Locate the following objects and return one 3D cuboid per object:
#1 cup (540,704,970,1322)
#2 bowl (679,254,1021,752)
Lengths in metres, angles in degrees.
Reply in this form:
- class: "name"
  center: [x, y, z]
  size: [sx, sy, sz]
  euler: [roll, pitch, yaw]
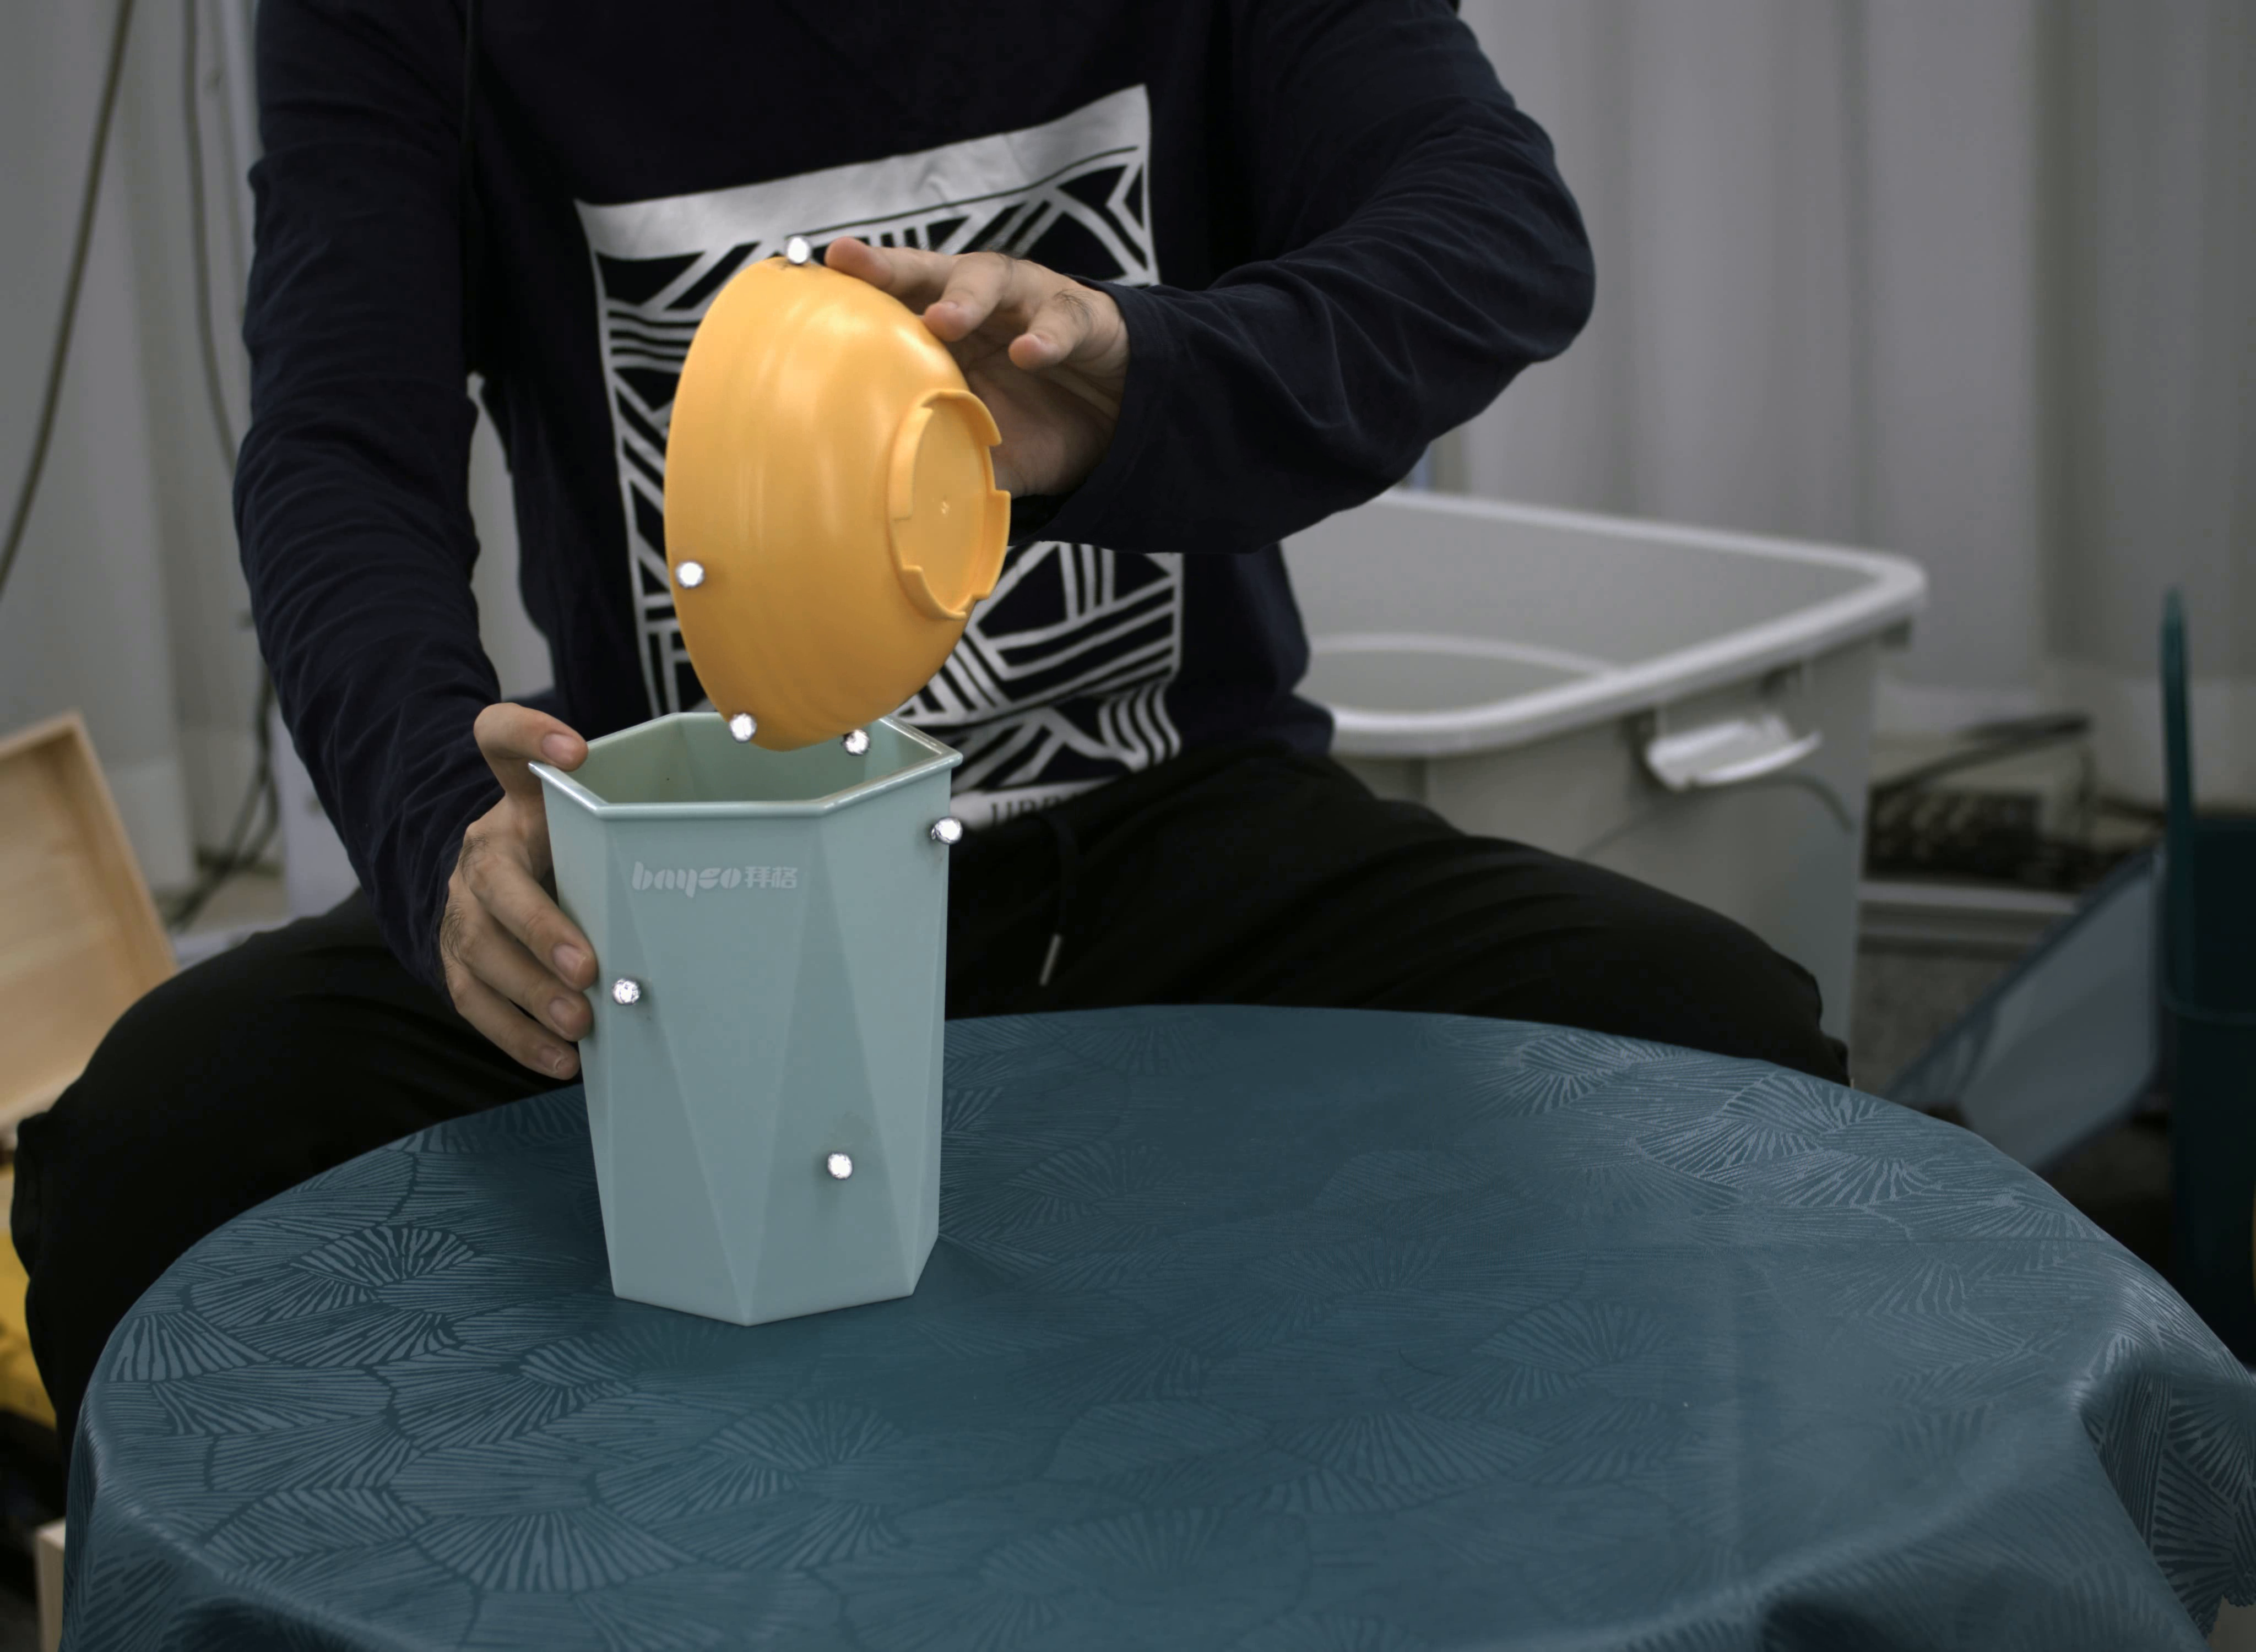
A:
- class: "cup"
  center: [-0.108, 0.055, 1.642]
  size: [0.131, 0.162, 0.116]
  euler: [-1, 13, 6]
- class: "bowl"
  center: [-0.071, -0.092, 1.590]
  size: [0.060, 0.145, 0.145]
  euler: [4, 16, 25]
